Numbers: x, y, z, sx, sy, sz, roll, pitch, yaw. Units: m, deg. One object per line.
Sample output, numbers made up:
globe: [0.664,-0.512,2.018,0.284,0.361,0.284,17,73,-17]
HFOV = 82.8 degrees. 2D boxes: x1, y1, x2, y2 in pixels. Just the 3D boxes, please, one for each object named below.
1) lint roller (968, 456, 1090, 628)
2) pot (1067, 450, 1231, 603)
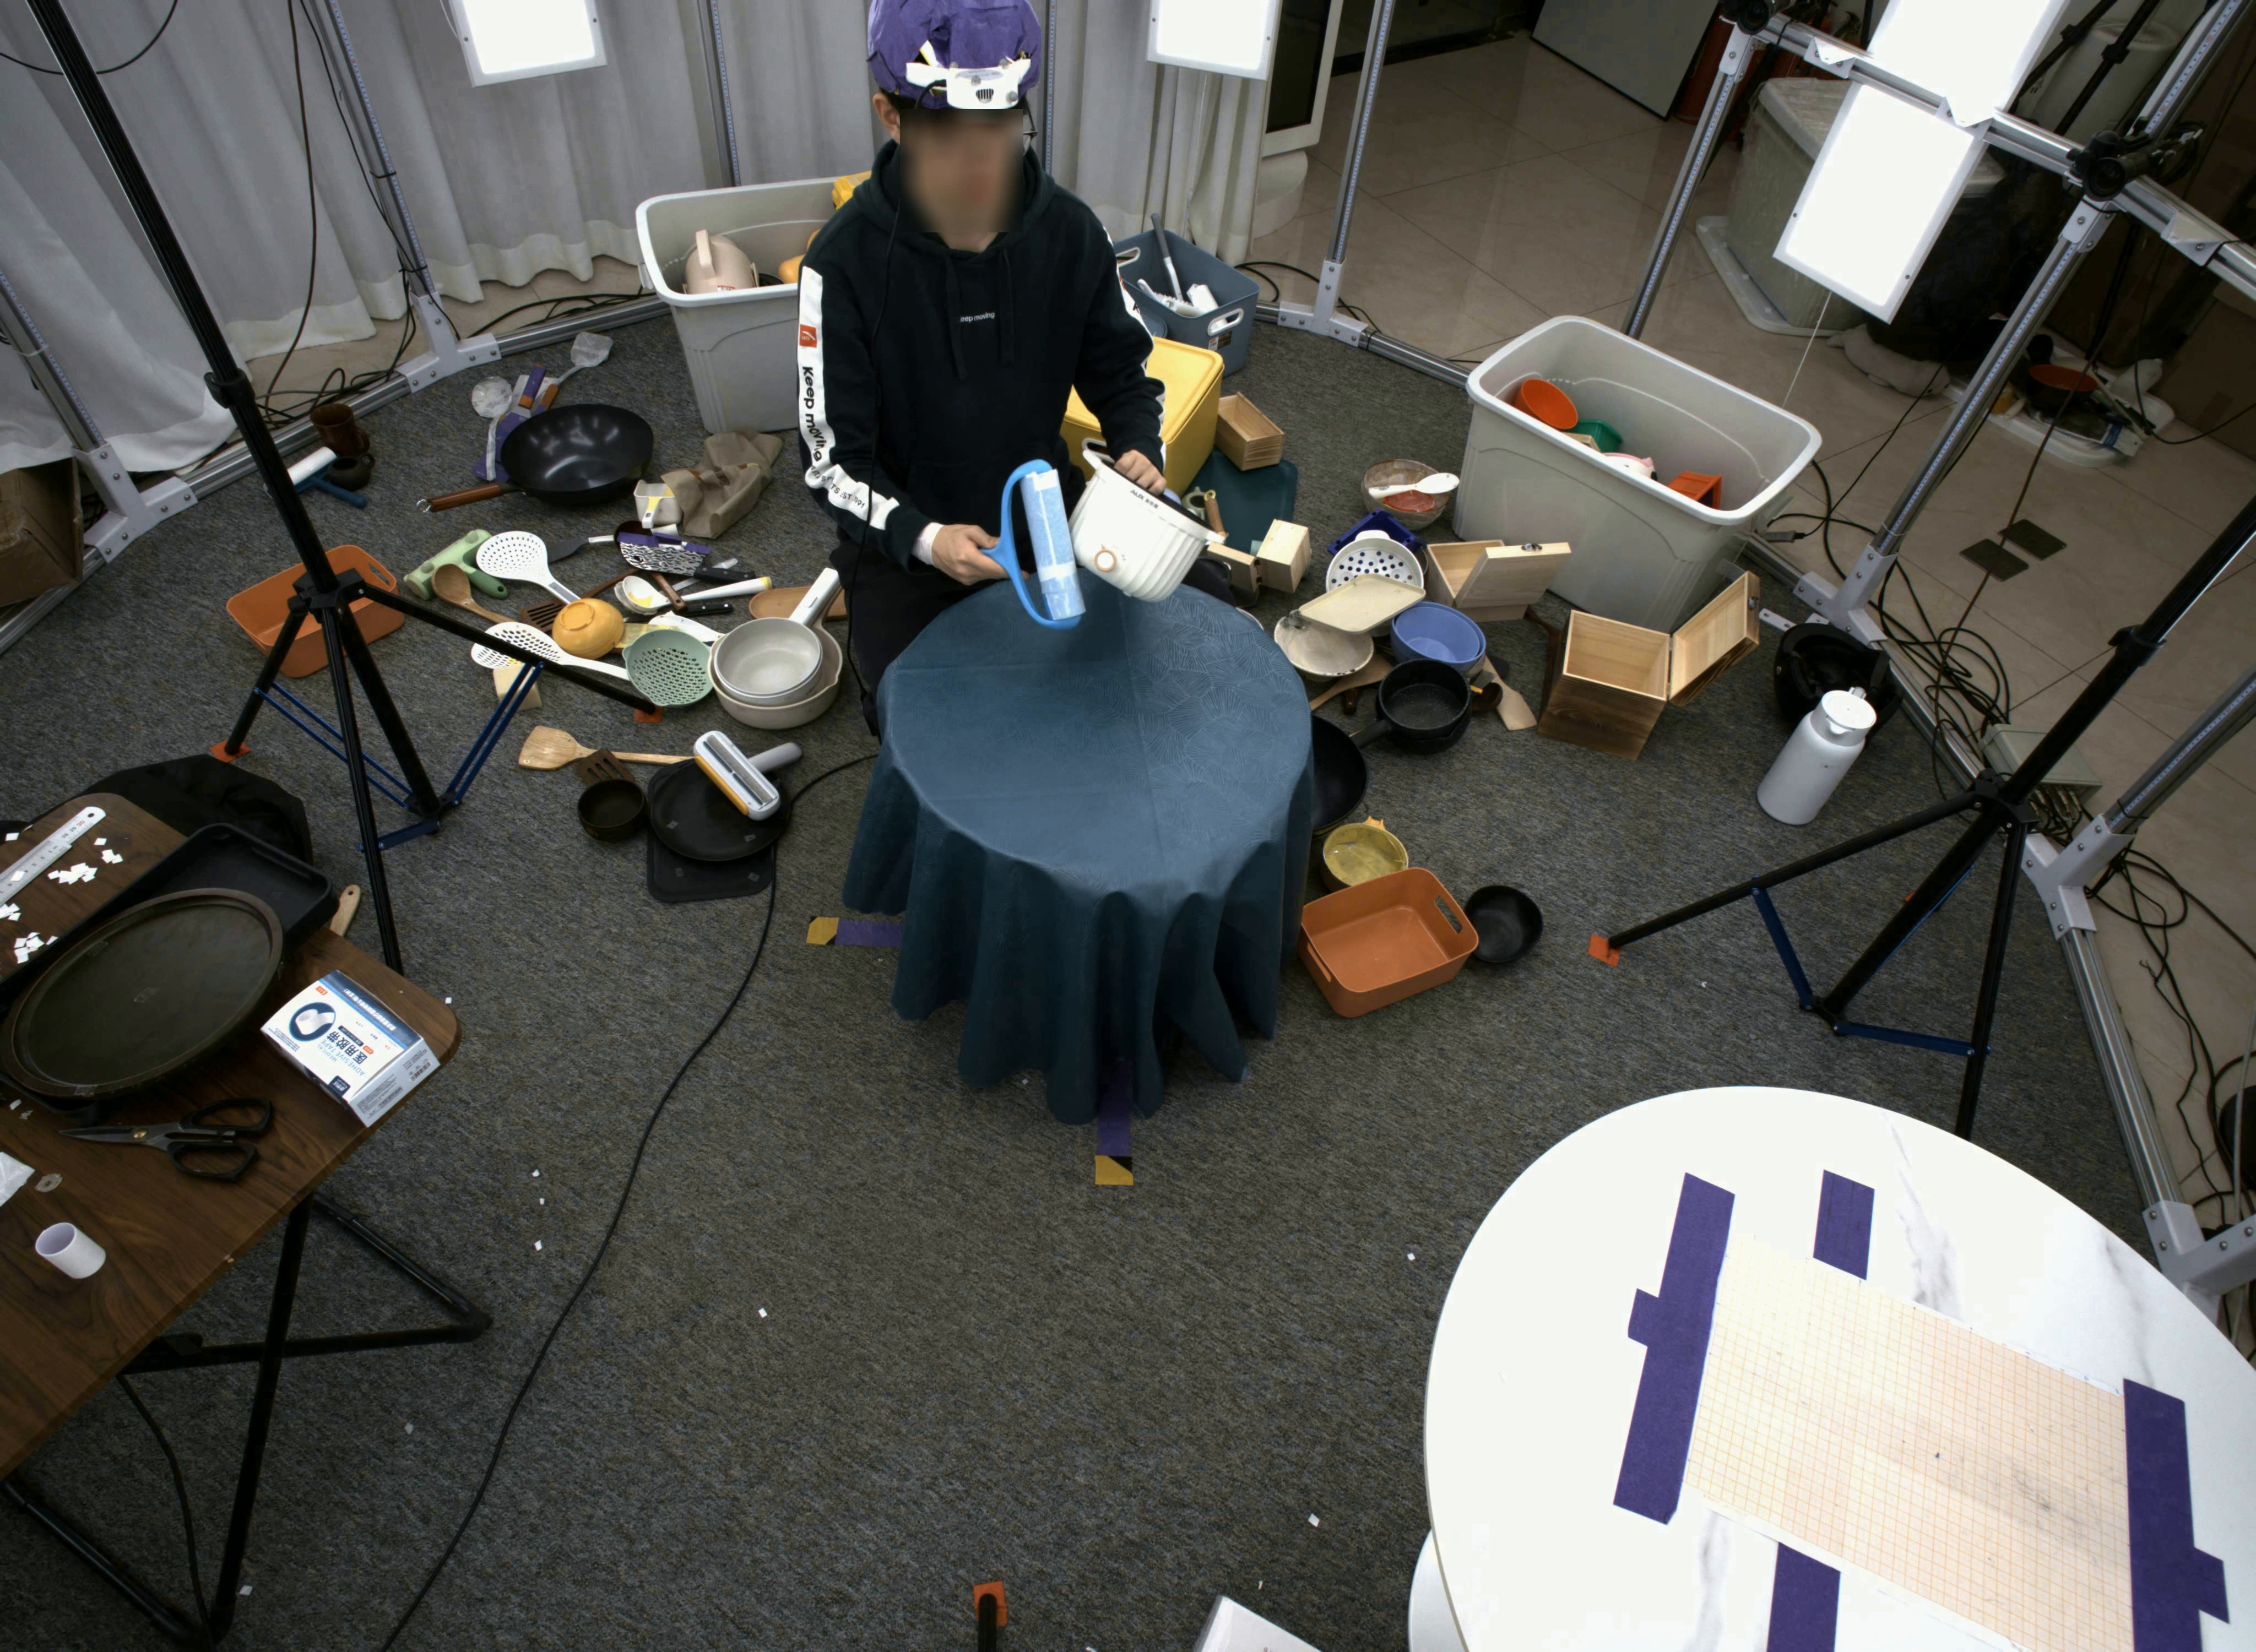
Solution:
lint roller: [-0.152,-0.372,1.753,0.180,0.226,0.068,-8,16,27]
pot: [0.008,-0.398,1.772,0.241,0.142,0.191,32,11,4]
